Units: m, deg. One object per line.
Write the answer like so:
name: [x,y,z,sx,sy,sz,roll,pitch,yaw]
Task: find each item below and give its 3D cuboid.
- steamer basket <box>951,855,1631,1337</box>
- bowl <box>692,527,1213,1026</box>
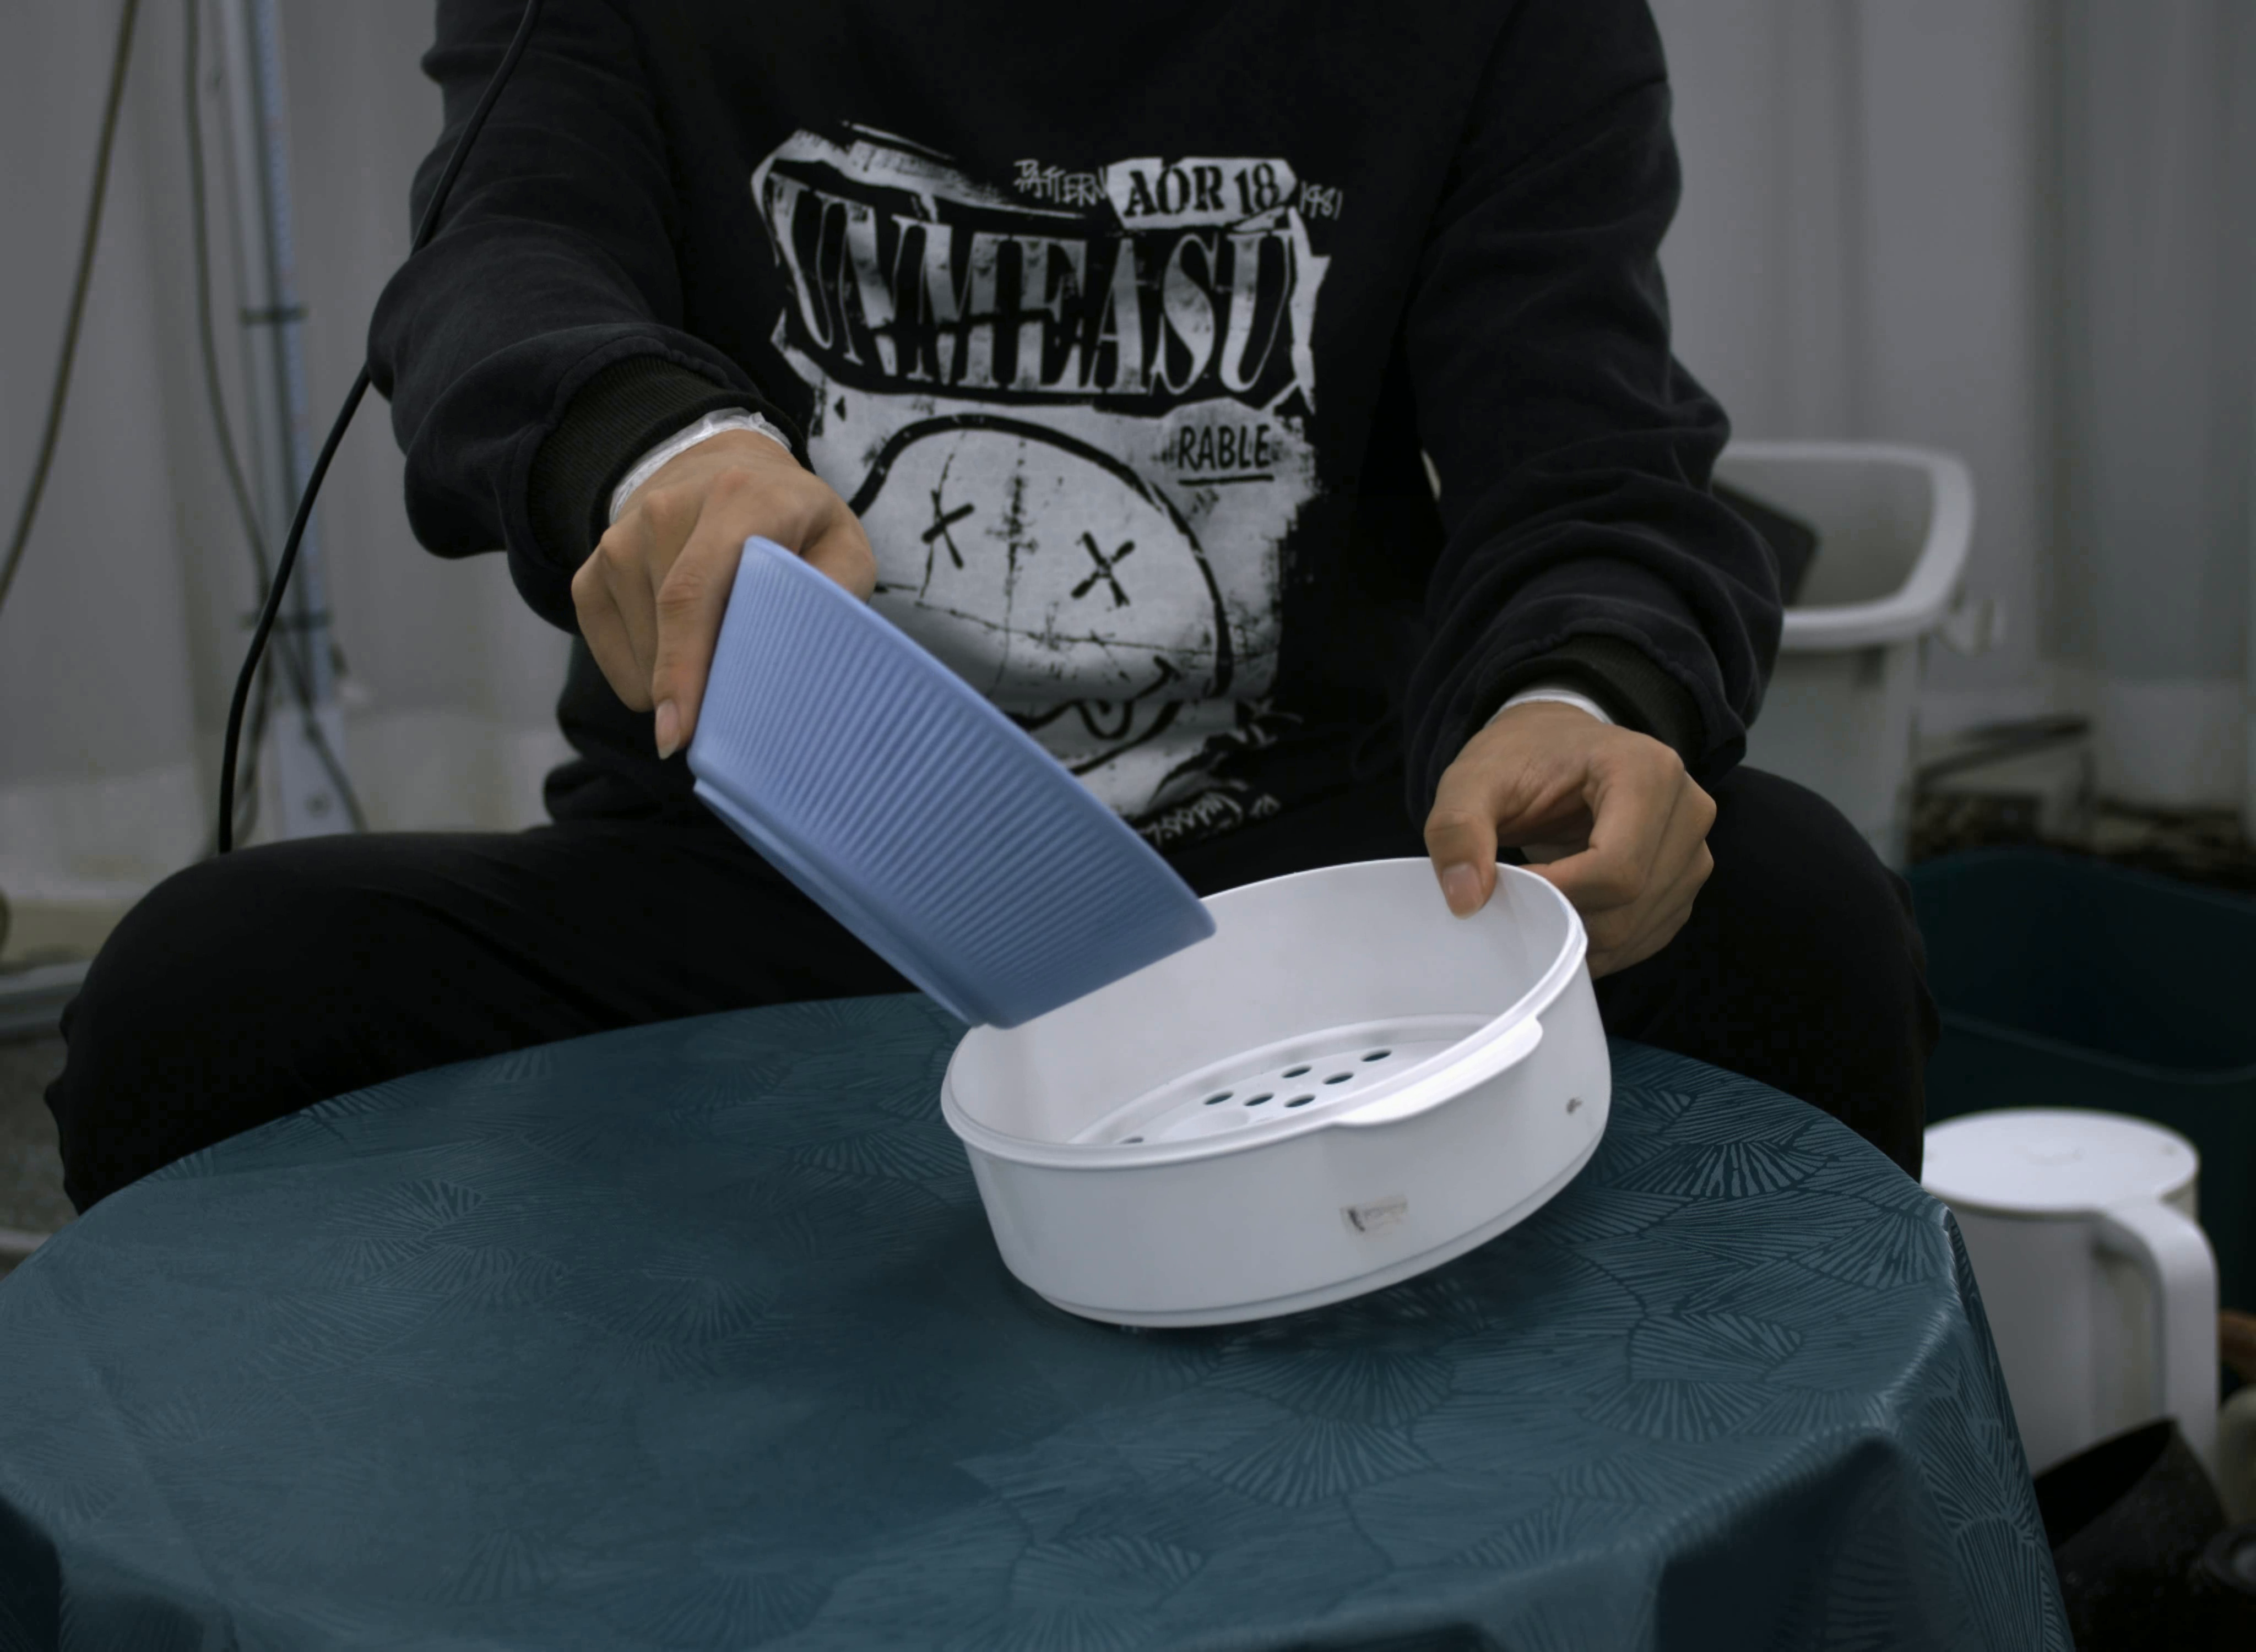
steamer basket: [0.051,0.081,1.636,0.202,0.069,0.232,-26,23,-25]
bowl: [-0.062,-0.004,1.574,0.070,0.174,0.177,-48,26,-6]
